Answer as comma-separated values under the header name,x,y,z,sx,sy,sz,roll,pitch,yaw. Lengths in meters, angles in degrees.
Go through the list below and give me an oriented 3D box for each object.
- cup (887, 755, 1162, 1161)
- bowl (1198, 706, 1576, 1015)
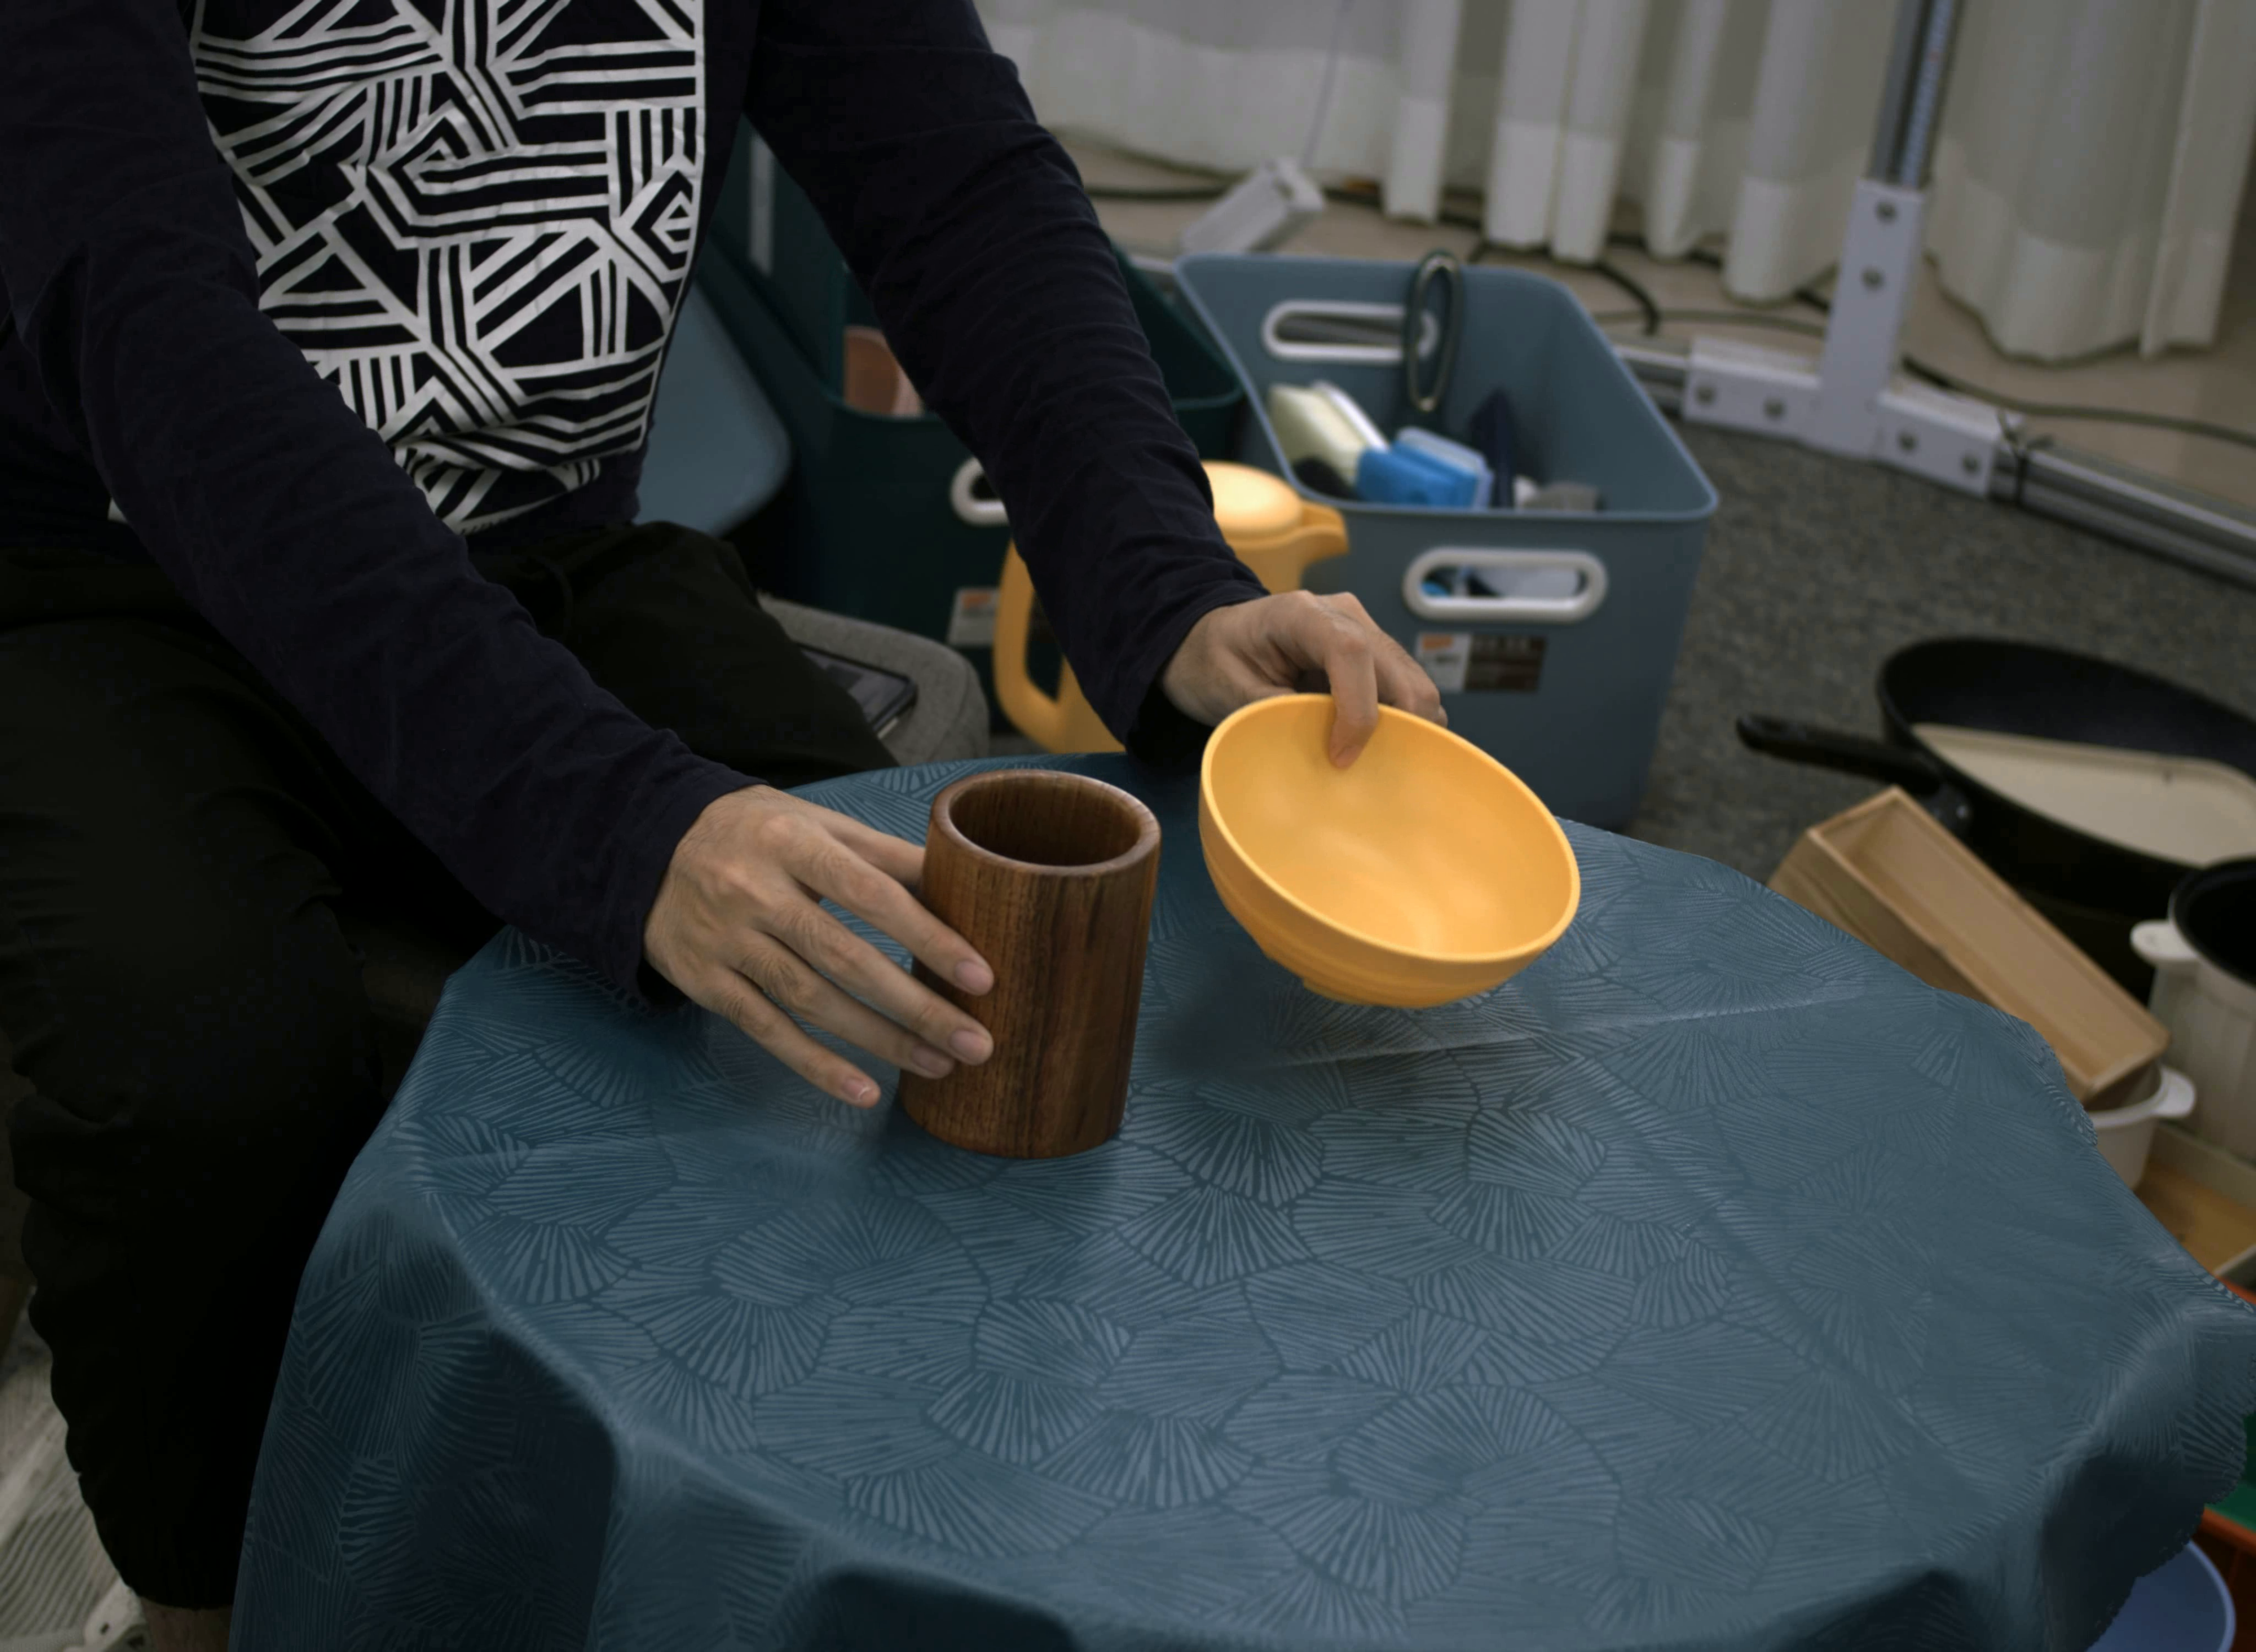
name,x,y,z,sx,sy,sz,roll,pitch,yaw
cup,-0.037,0.045,1.824,0.087,0.118,0.088,8,24,-4
bowl,0.084,0.024,1.914,0.144,0.060,0.146,15,35,-11
